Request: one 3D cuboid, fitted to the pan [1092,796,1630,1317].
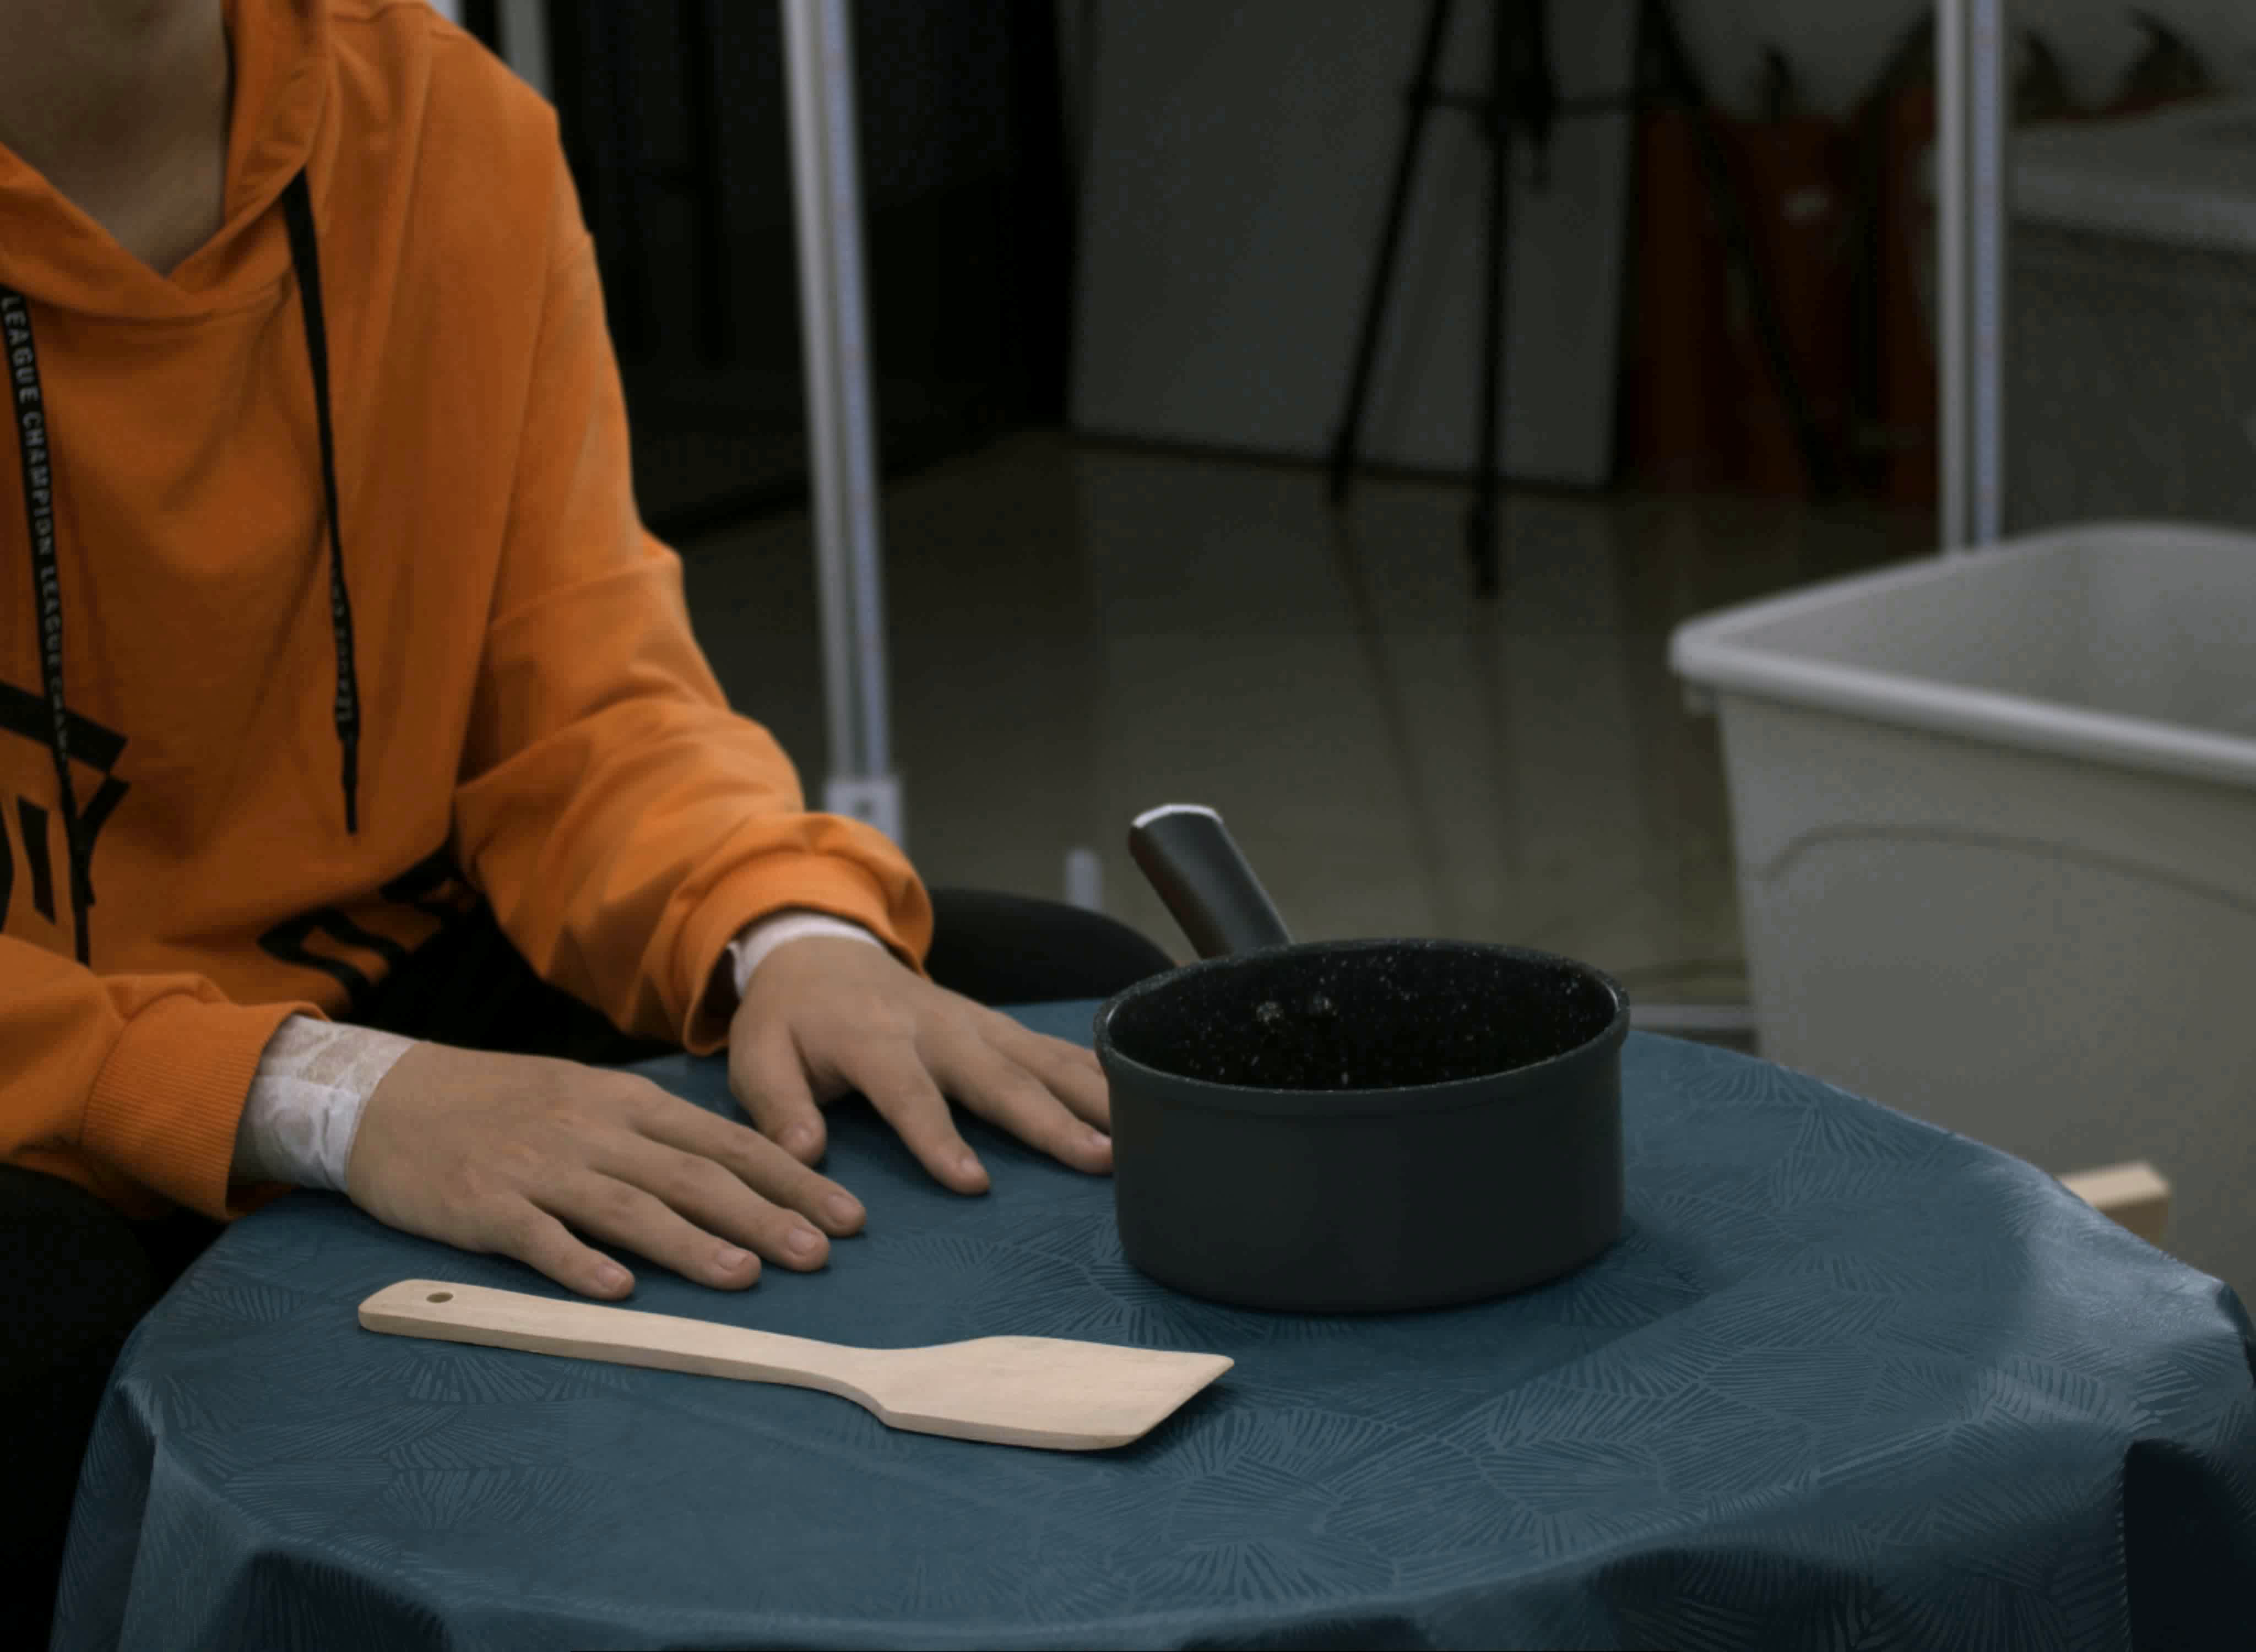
[{"bbox_3d":[0.059,0.072,1.775,0.169,0.087,0.331,-6,15,-9],"label":"pan"}]

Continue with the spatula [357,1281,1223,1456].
[{"bbox_3d":[-0.112,0.160,1.627,0.294,0.011,0.071,4,19,30],"label":"spatula"}]
